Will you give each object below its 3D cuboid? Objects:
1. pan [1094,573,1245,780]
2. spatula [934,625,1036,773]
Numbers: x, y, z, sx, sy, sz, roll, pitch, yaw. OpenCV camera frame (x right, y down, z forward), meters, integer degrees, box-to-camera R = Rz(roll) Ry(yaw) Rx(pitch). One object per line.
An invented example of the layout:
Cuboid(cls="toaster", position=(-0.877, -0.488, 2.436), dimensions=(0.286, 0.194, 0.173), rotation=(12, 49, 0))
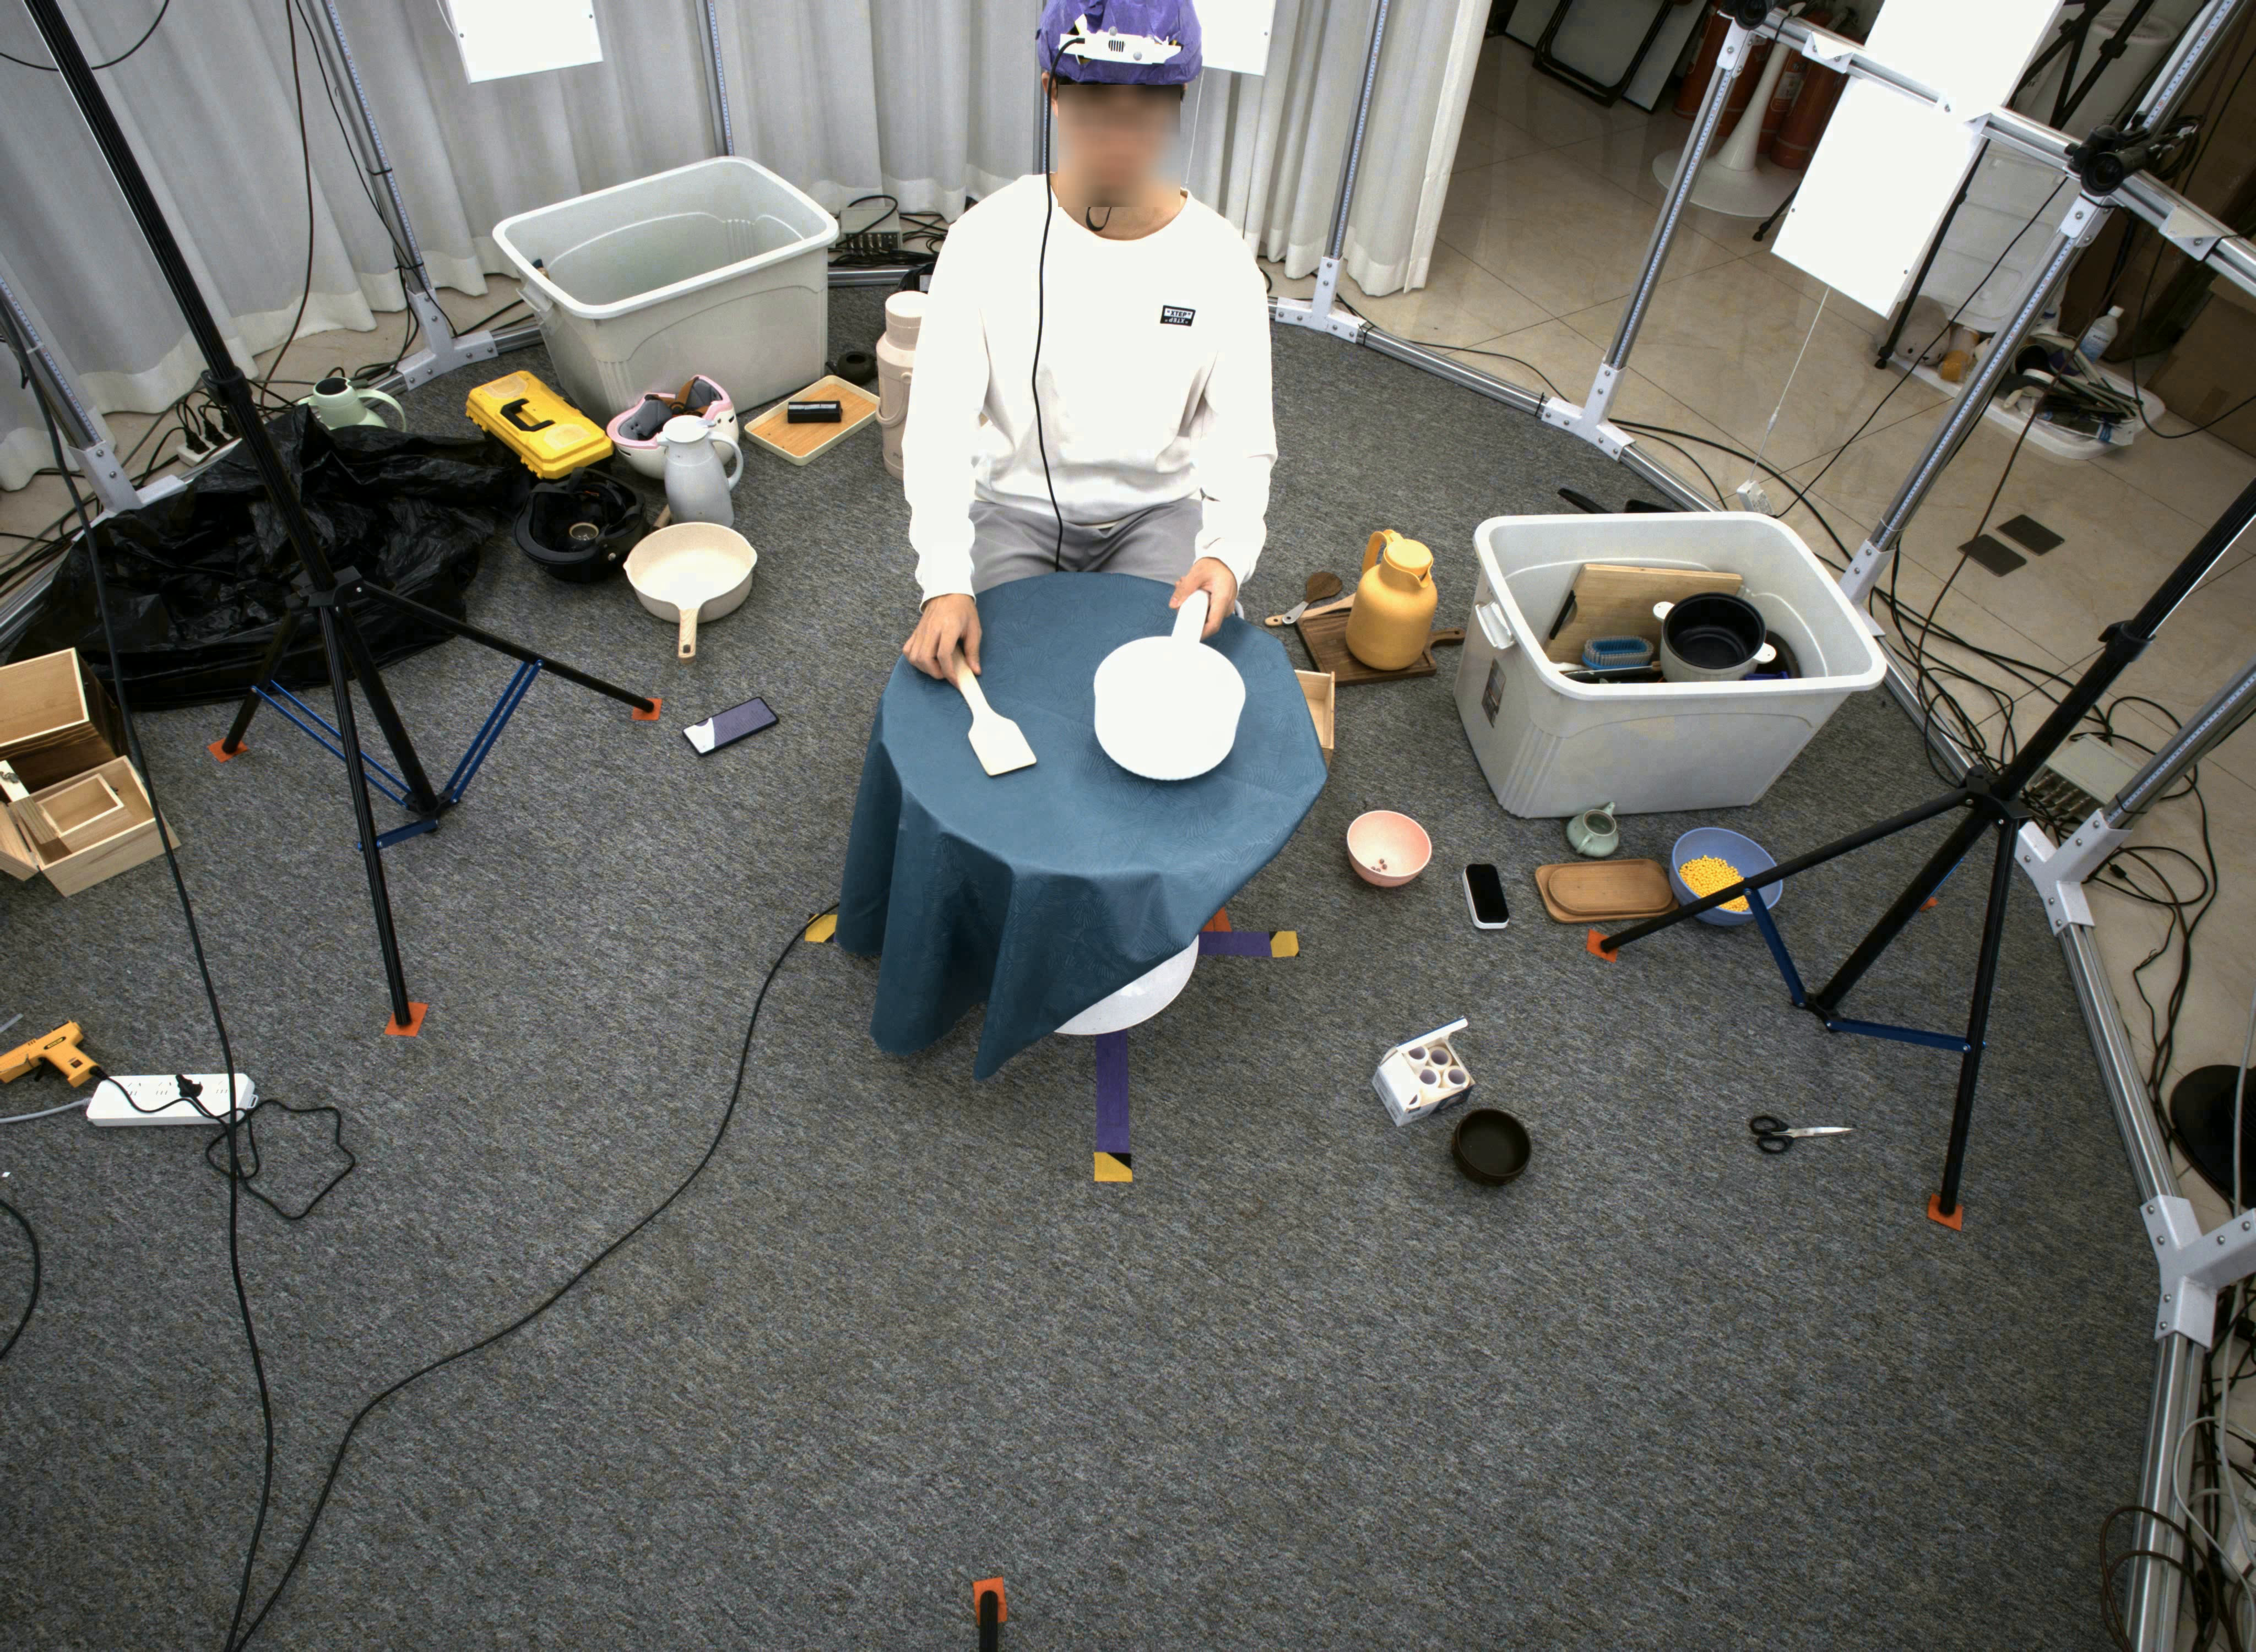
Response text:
Cuboid(cls="pan", position=(0.069, -0.209, 1.790), dimensions=(0.201, 0.099, 0.363), rotation=(11, 47, 6))
Cuboid(cls="spatula", position=(-0.214, -0.184, 1.800), dimensions=(0.072, 0.010, 0.299), rotation=(-17, 54, -17))
